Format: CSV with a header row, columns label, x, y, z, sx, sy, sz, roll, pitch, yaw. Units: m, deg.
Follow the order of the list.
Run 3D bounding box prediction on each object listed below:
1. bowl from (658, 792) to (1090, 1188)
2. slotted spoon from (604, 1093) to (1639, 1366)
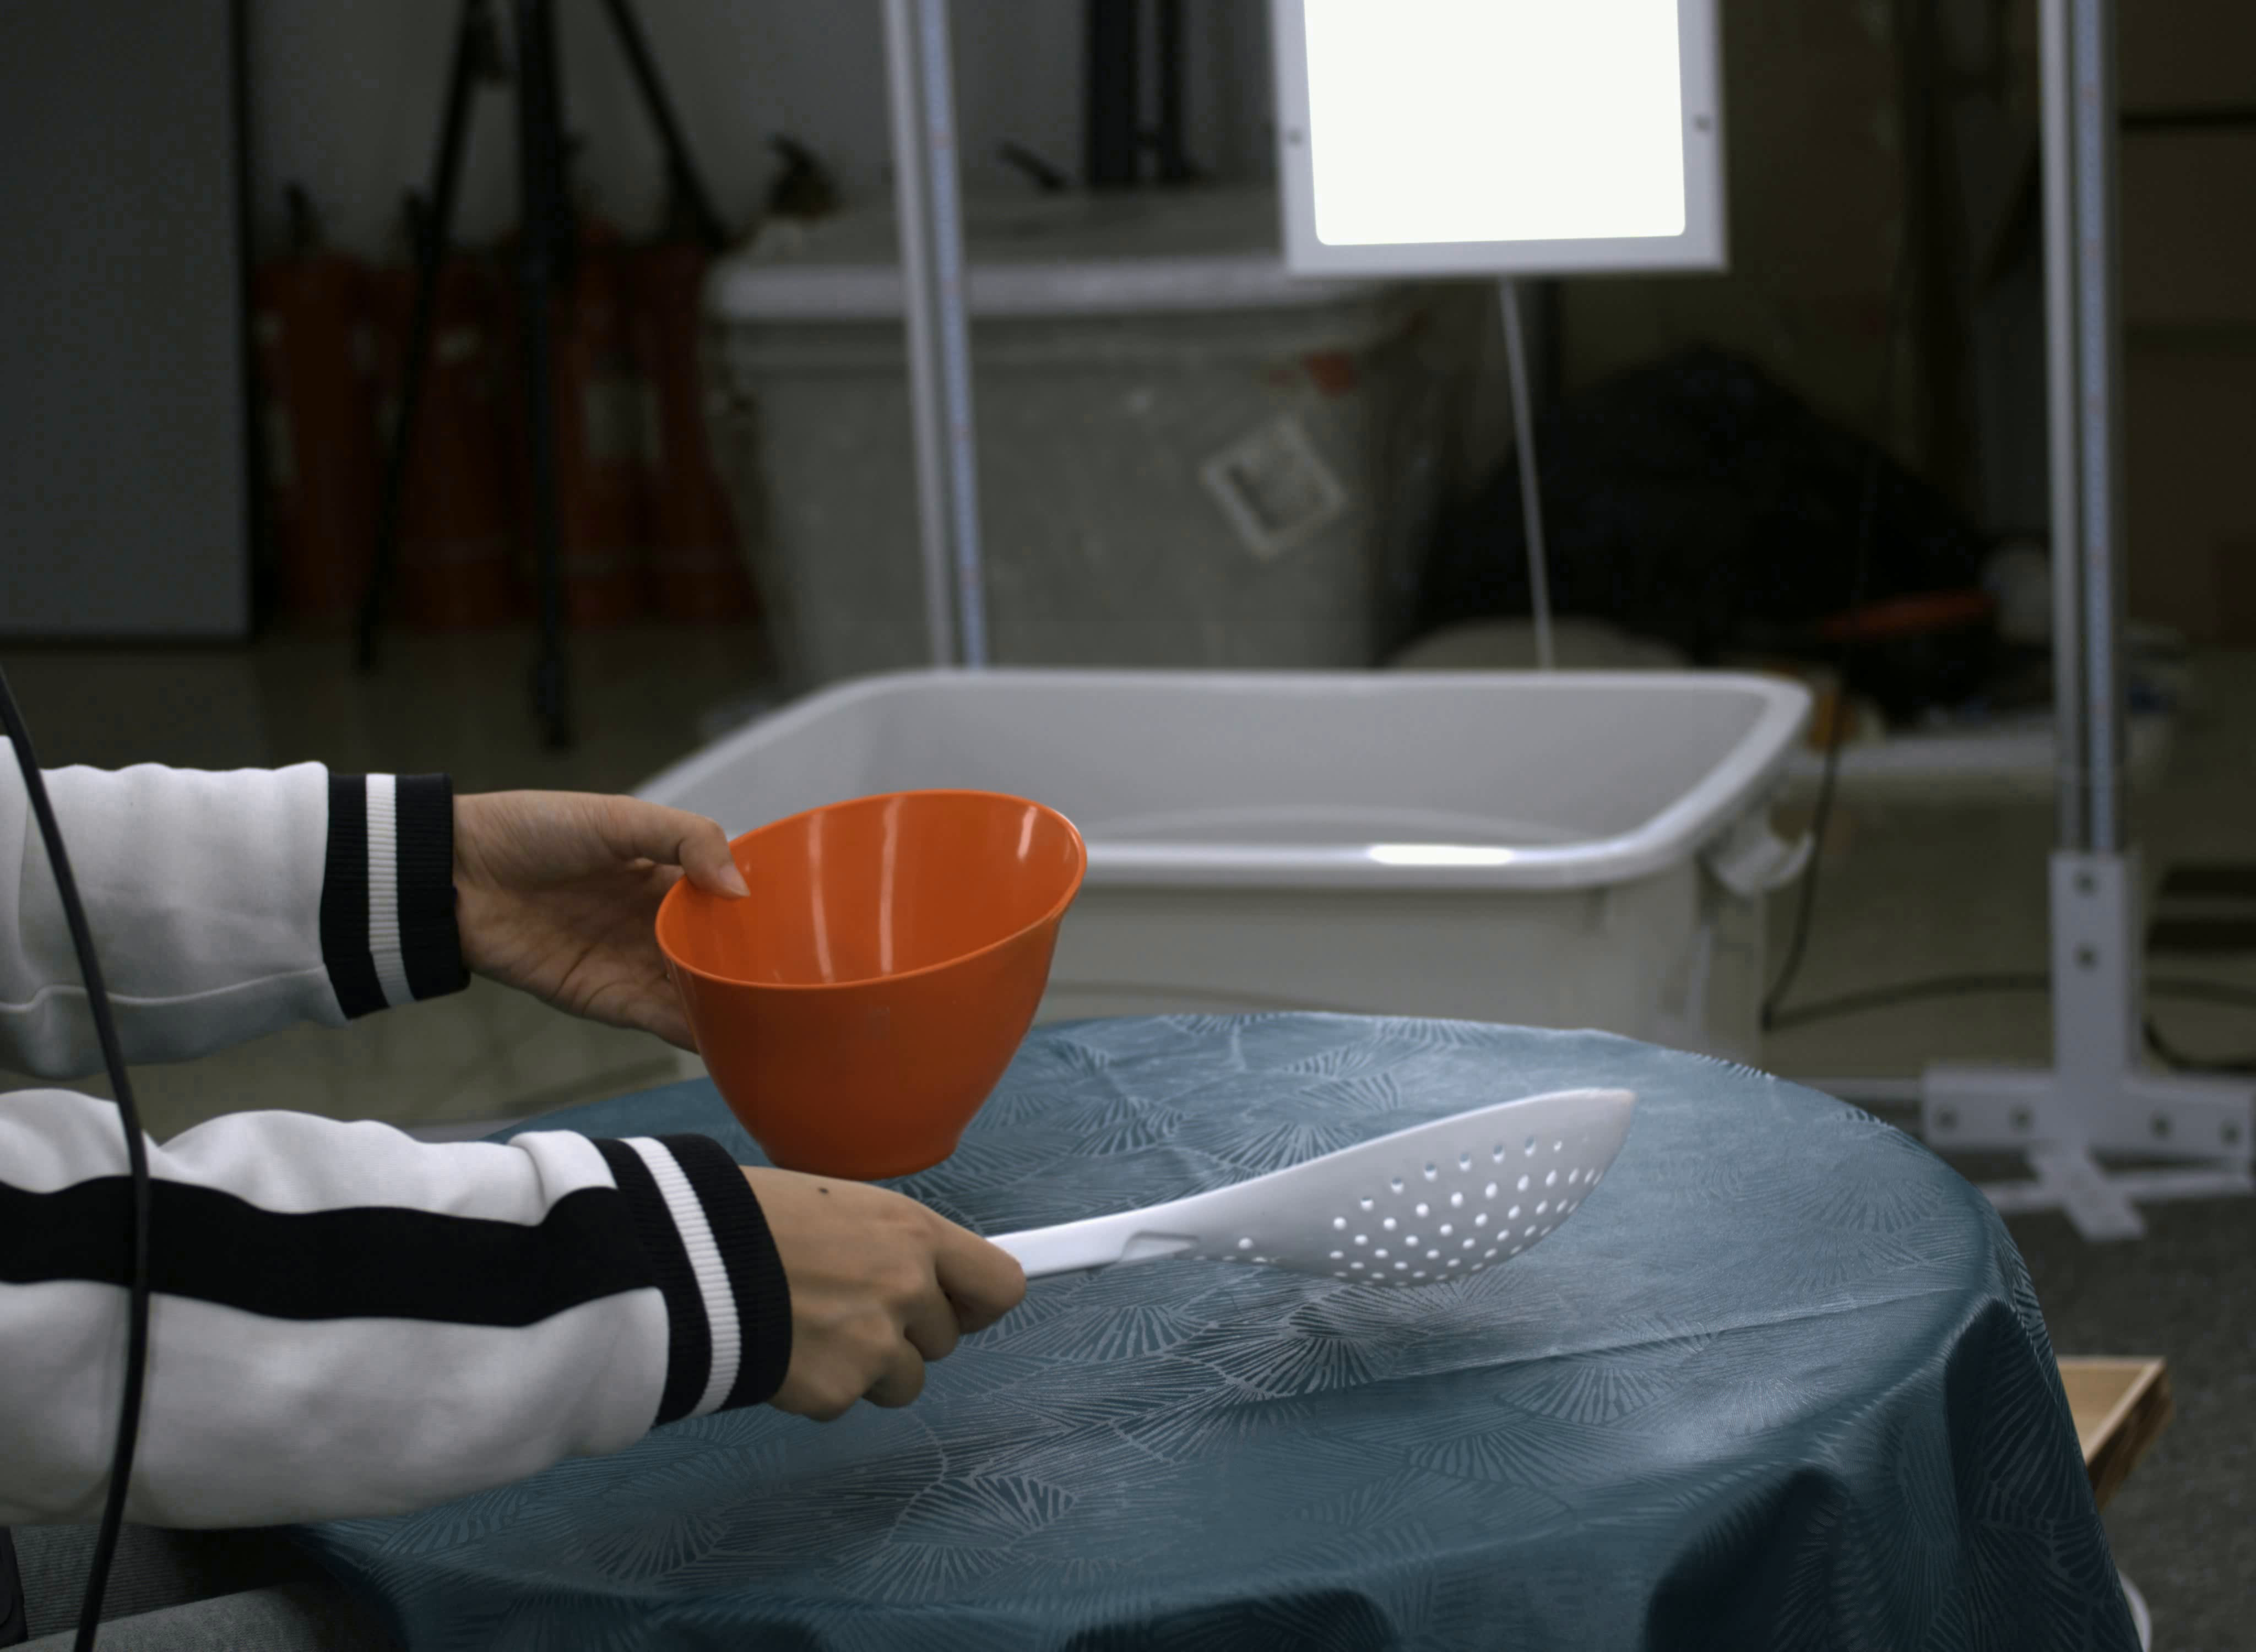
label,x,y,z,sx,sy,sz,roll,pitch,yaw
bowl,-0.085,0.060,1.877,0.147,0.105,0.148,-3,20,0
slotted spoon,0.004,0.126,1.680,0.342,0.046,0.138,-3,-17,-25
